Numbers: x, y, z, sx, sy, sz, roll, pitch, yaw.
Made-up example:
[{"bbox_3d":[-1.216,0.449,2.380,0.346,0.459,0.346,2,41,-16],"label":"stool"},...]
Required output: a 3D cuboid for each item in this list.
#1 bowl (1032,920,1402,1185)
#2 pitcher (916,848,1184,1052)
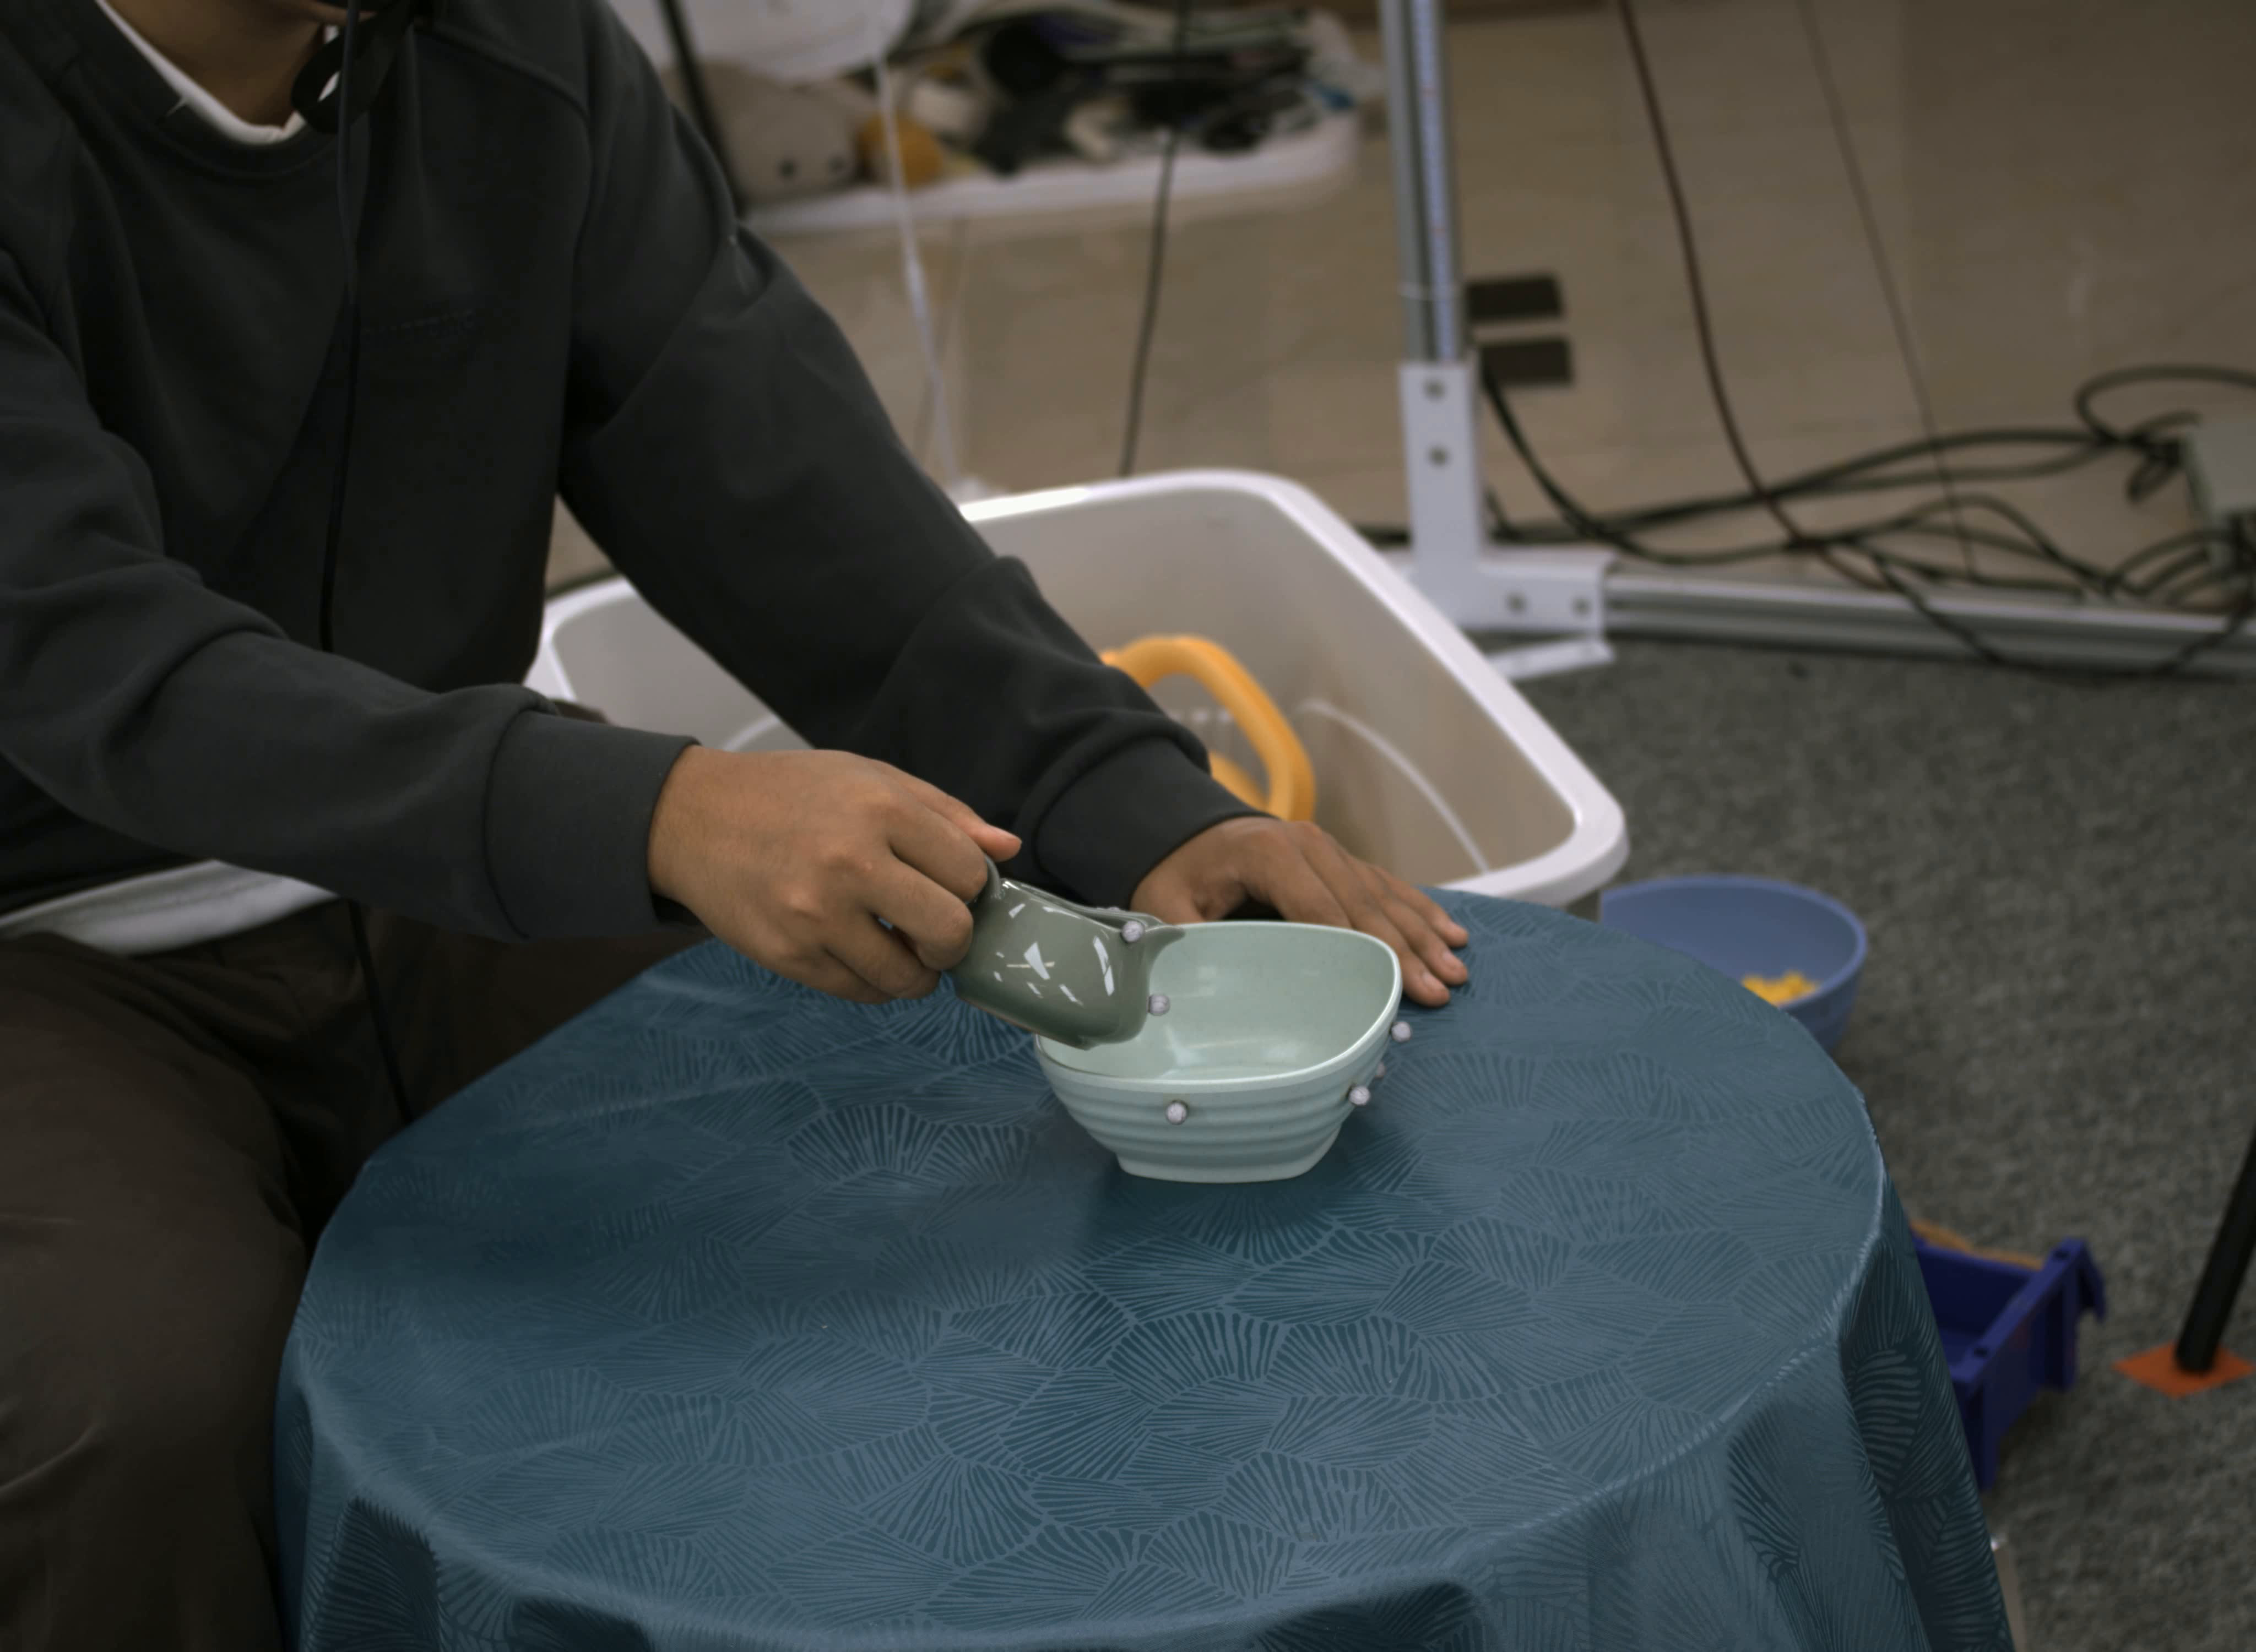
[{"bbox_3d":[0.036,0.092,2.174,0.151,0.059,0.149,-4,26,2],"label":"bowl"},{"bbox_3d":[-0.034,0.047,2.109,0.113,0.056,0.083,19,3,-31],"label":"pitcher"}]
